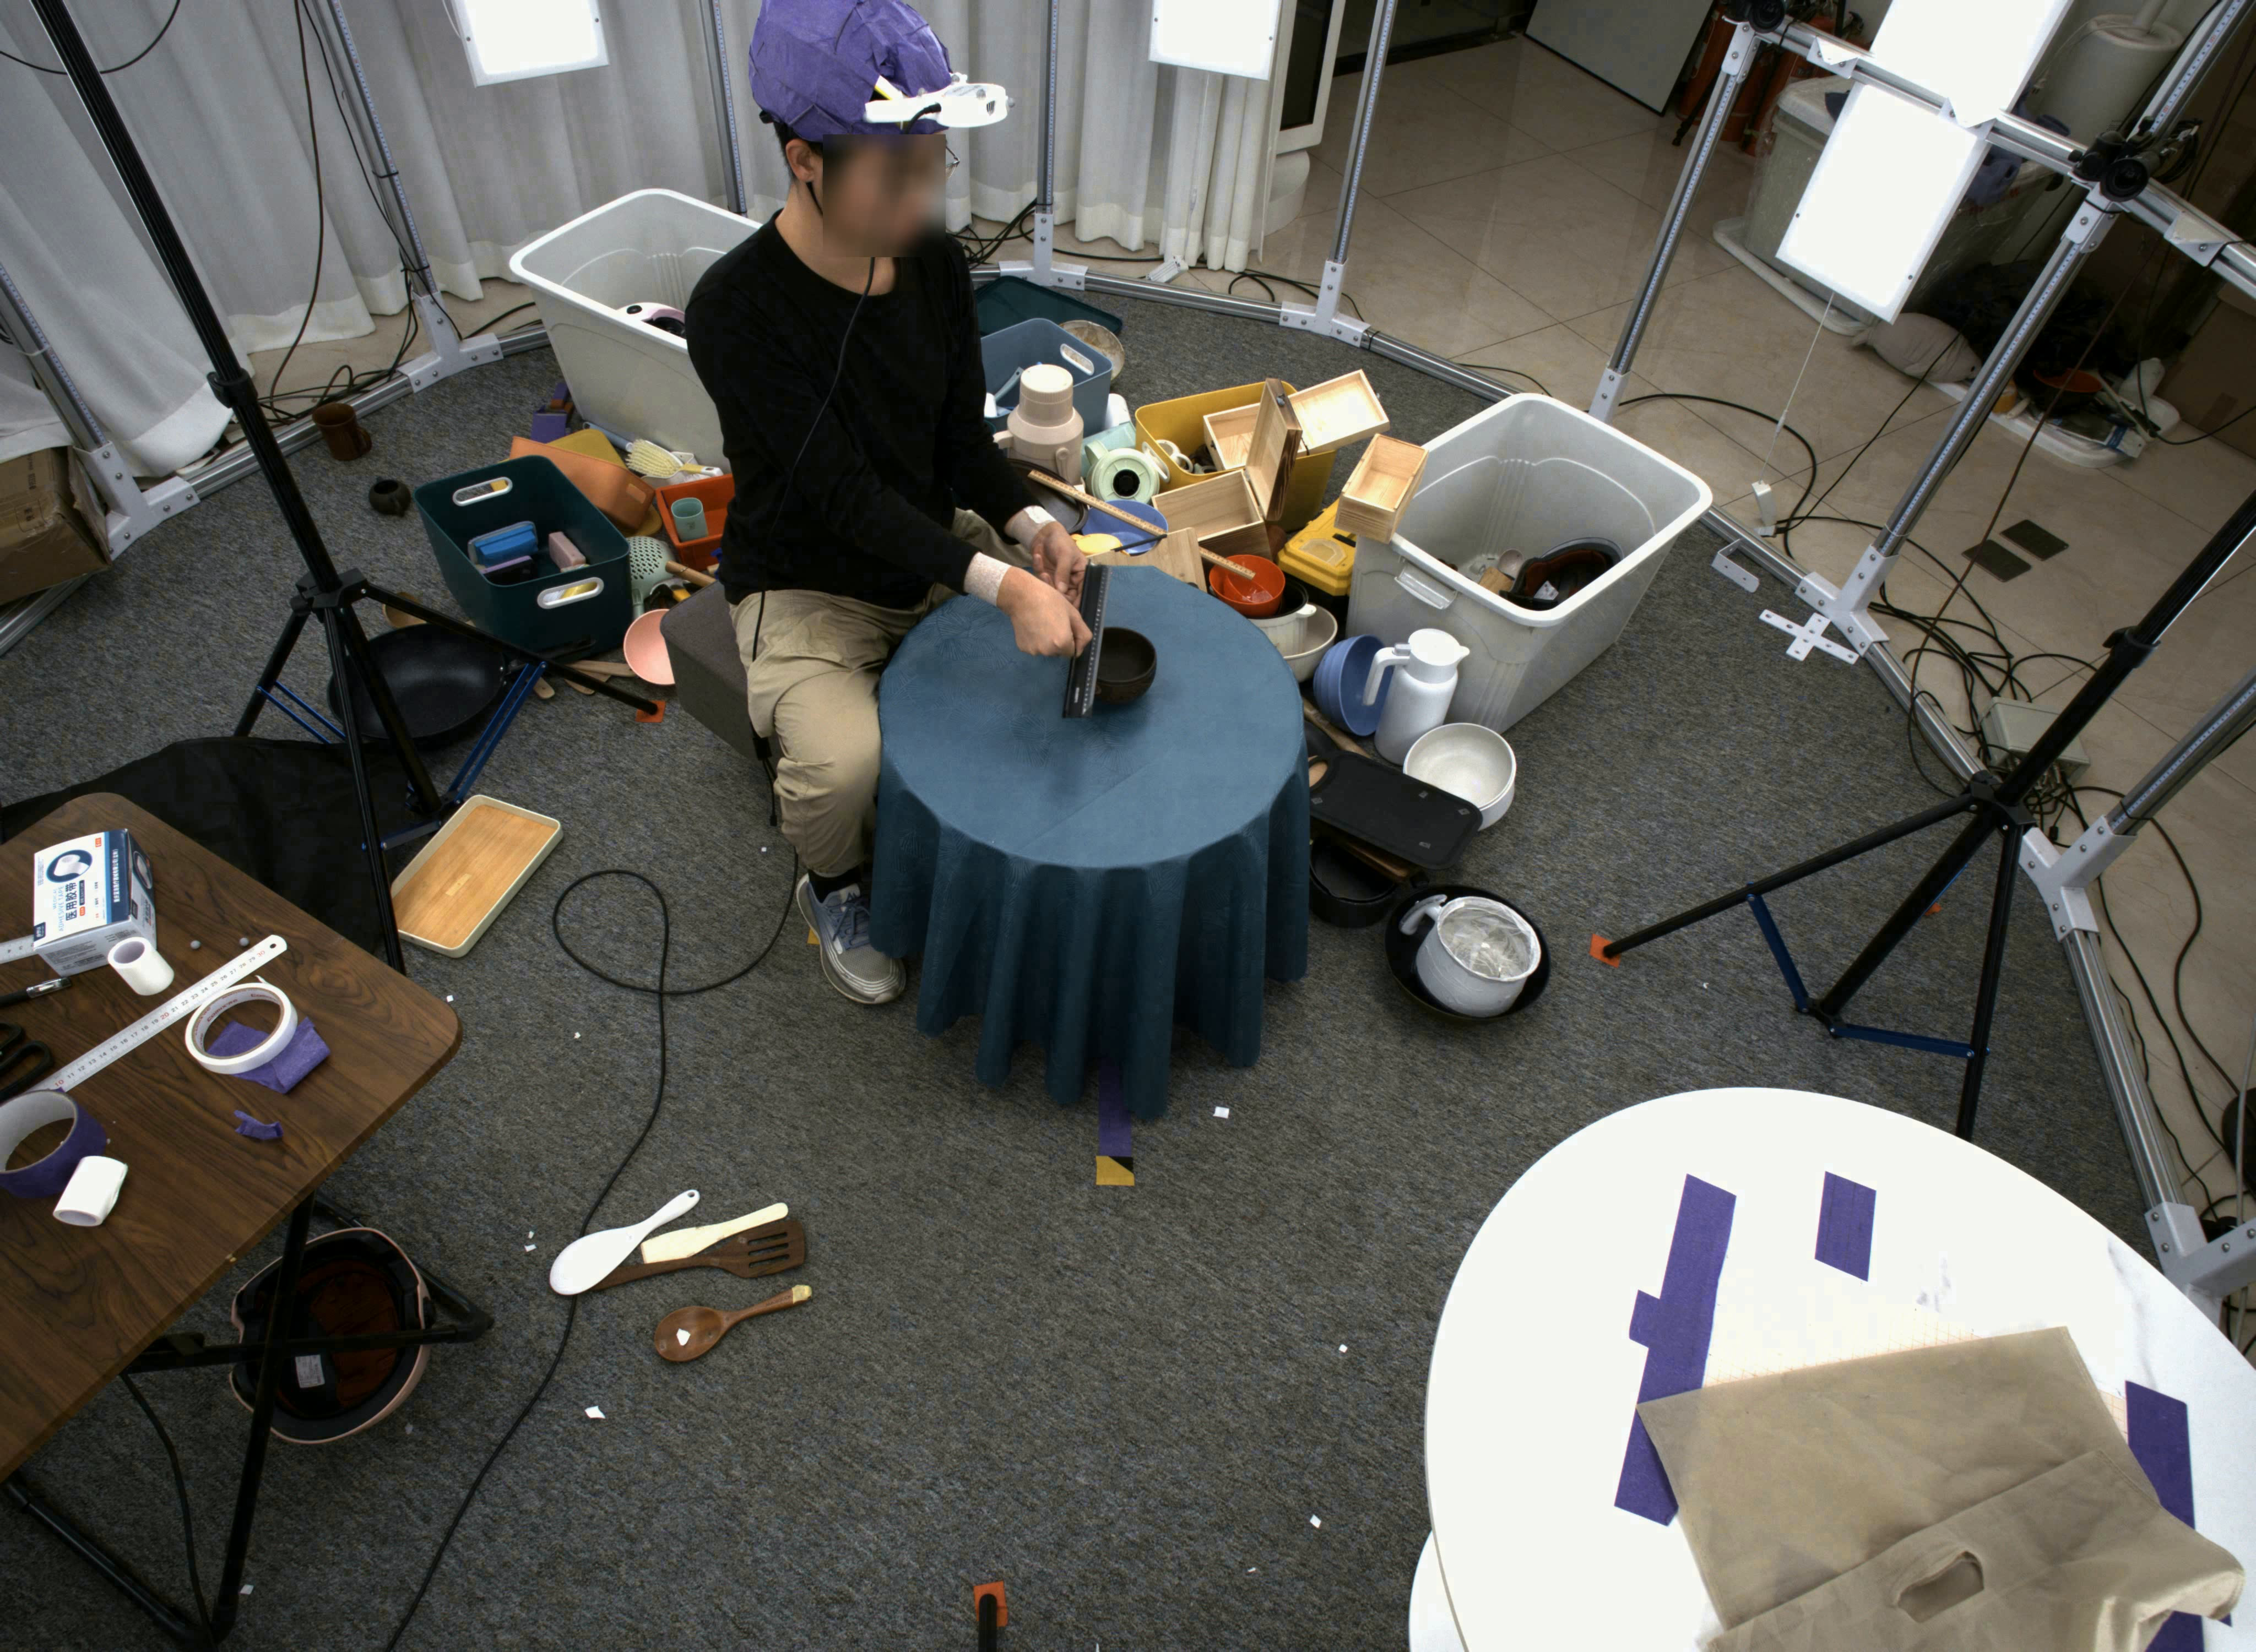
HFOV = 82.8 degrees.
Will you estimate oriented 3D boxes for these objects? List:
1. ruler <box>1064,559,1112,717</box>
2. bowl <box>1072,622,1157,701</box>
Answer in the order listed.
[{"bbox_3d":[-0.054,-0.265,1.764,0.039,0.017,0.320,1,48,6],"label":"ruler"},{"bbox_3d":[-0.021,-0.224,1.809,0.118,0.068,0.121,5,51,-7],"label":"bowl"}]
